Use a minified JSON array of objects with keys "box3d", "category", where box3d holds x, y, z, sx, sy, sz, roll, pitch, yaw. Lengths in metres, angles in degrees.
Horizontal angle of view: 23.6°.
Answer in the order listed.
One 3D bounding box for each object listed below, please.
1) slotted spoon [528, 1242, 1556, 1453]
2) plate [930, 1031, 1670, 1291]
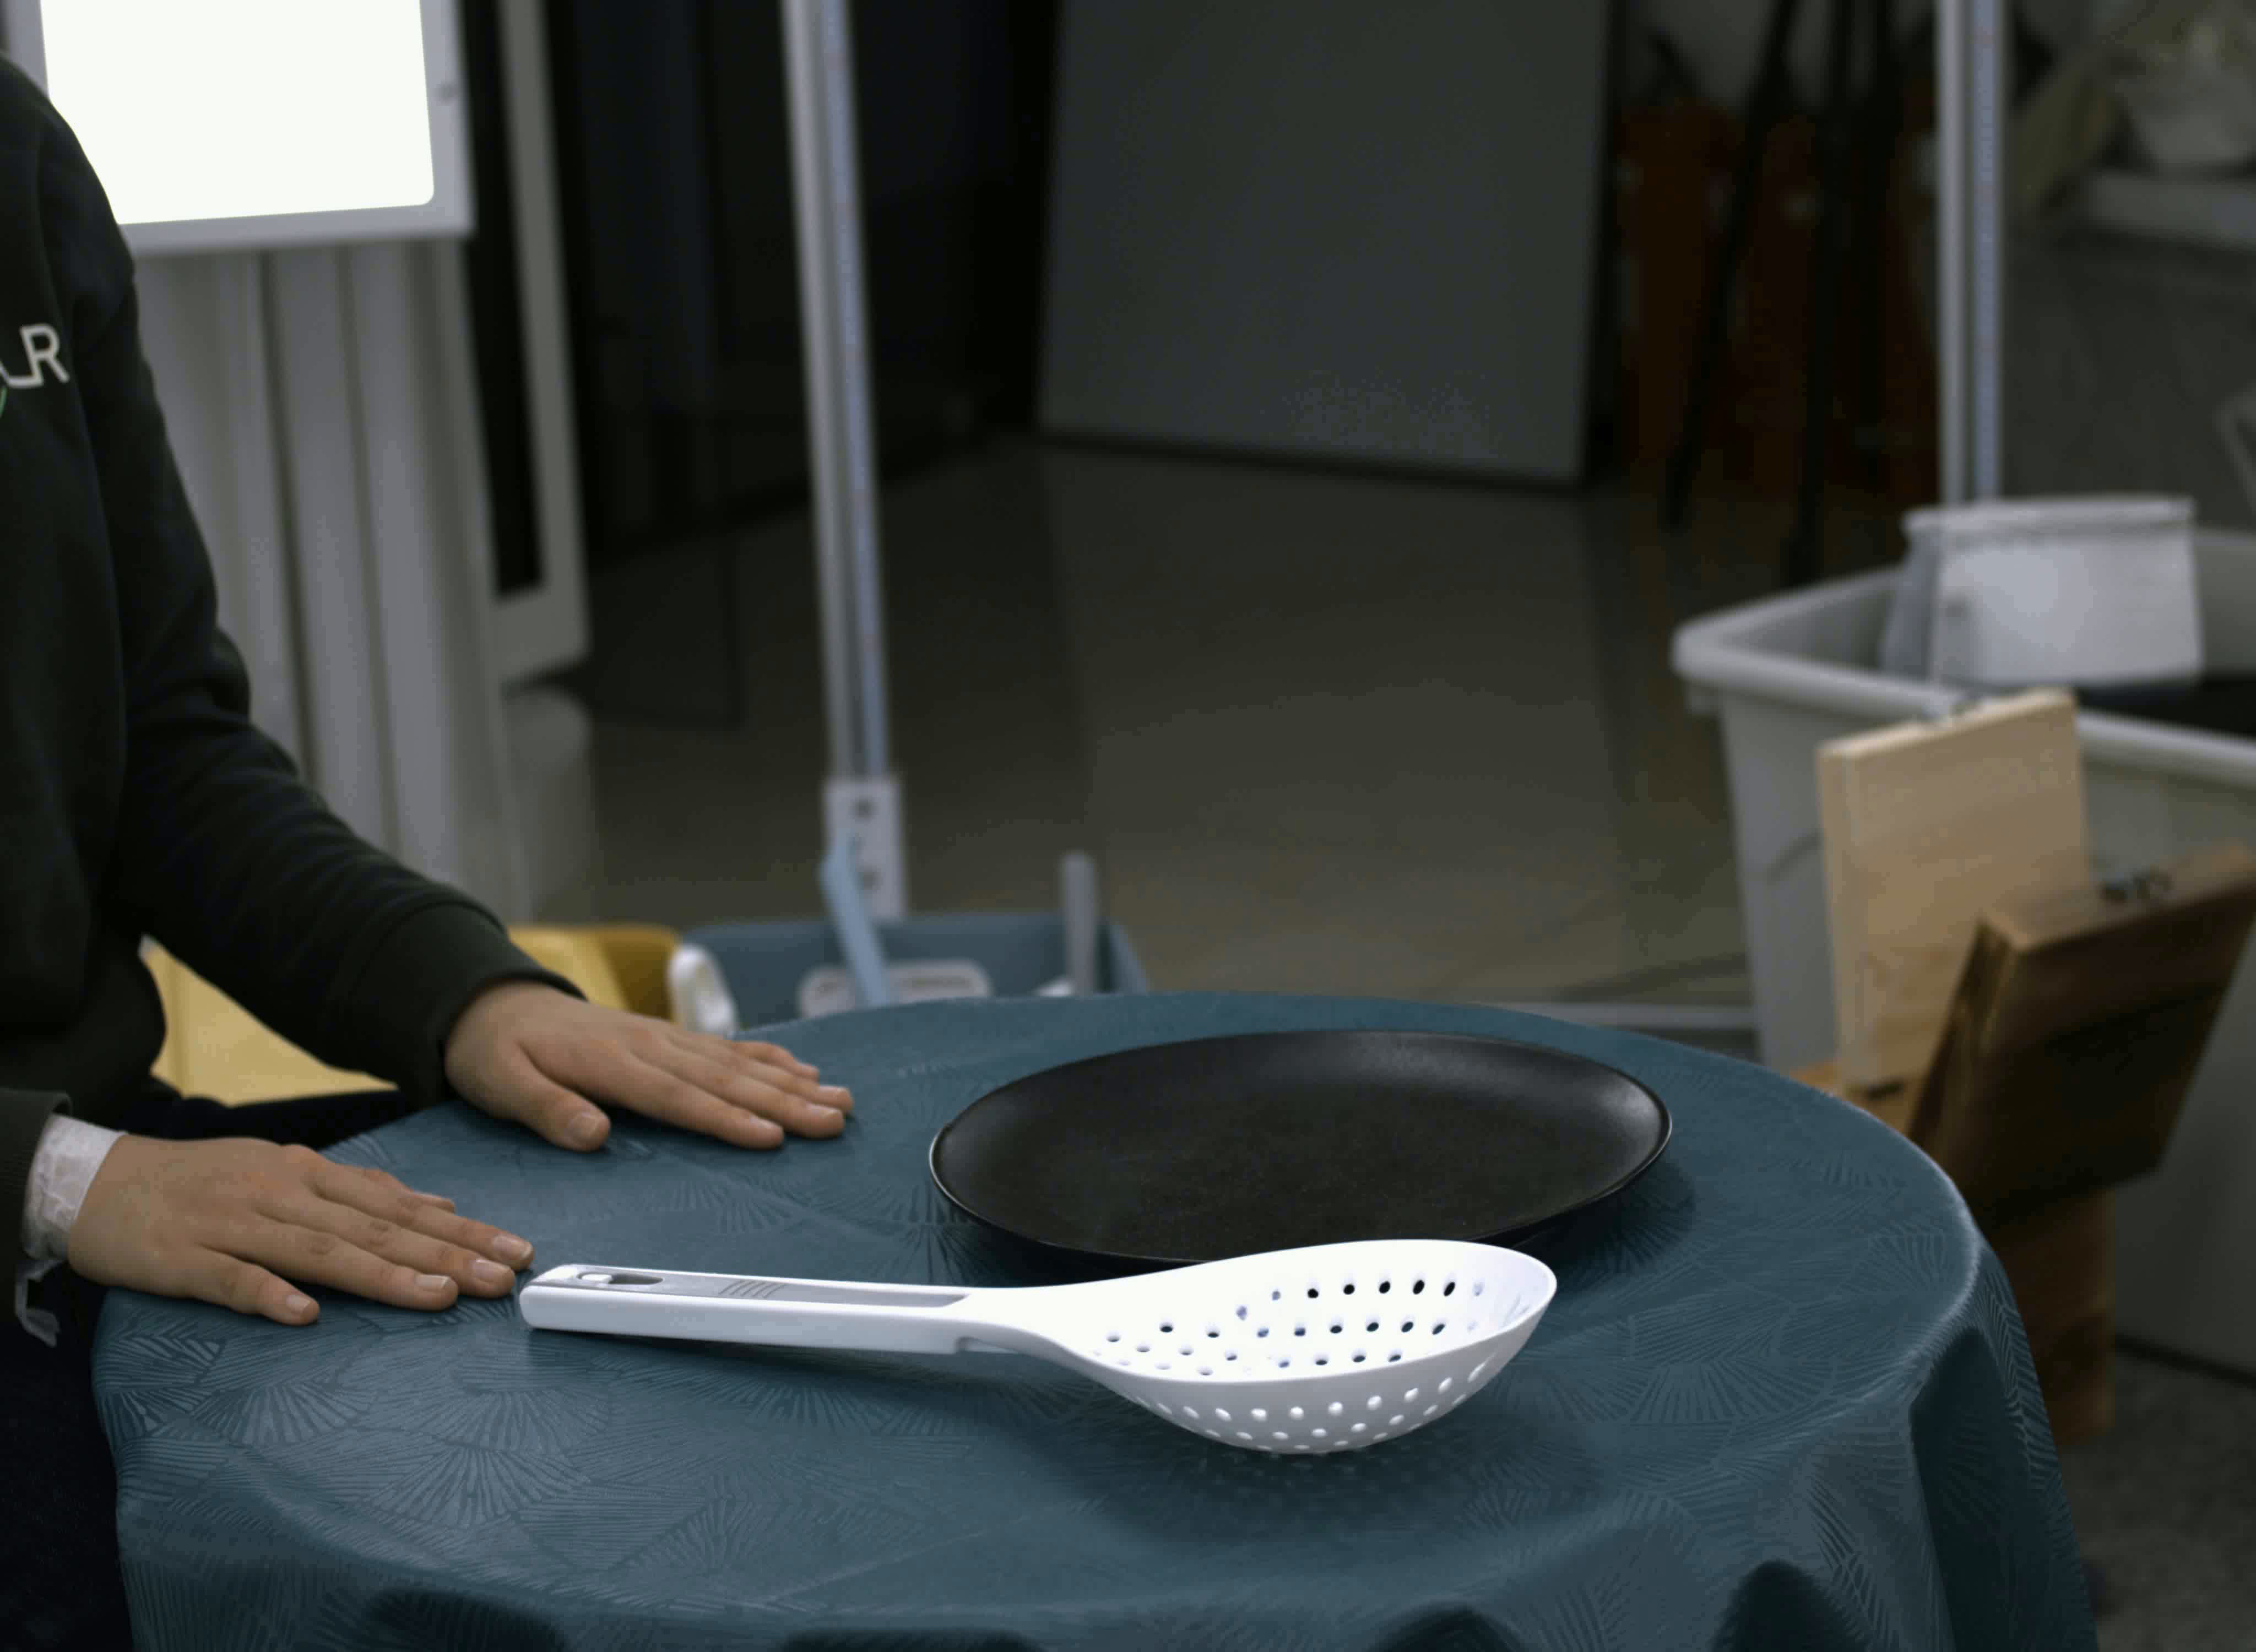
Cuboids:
[{"box3d":[-0.035,0.146,1.587,0.351,0.046,0.134,4,14,32],"category":"slotted spoon"},{"box3d":[0.056,0.111,1.748,0.241,0.024,0.245,-4,14,0],"category":"plate"}]
